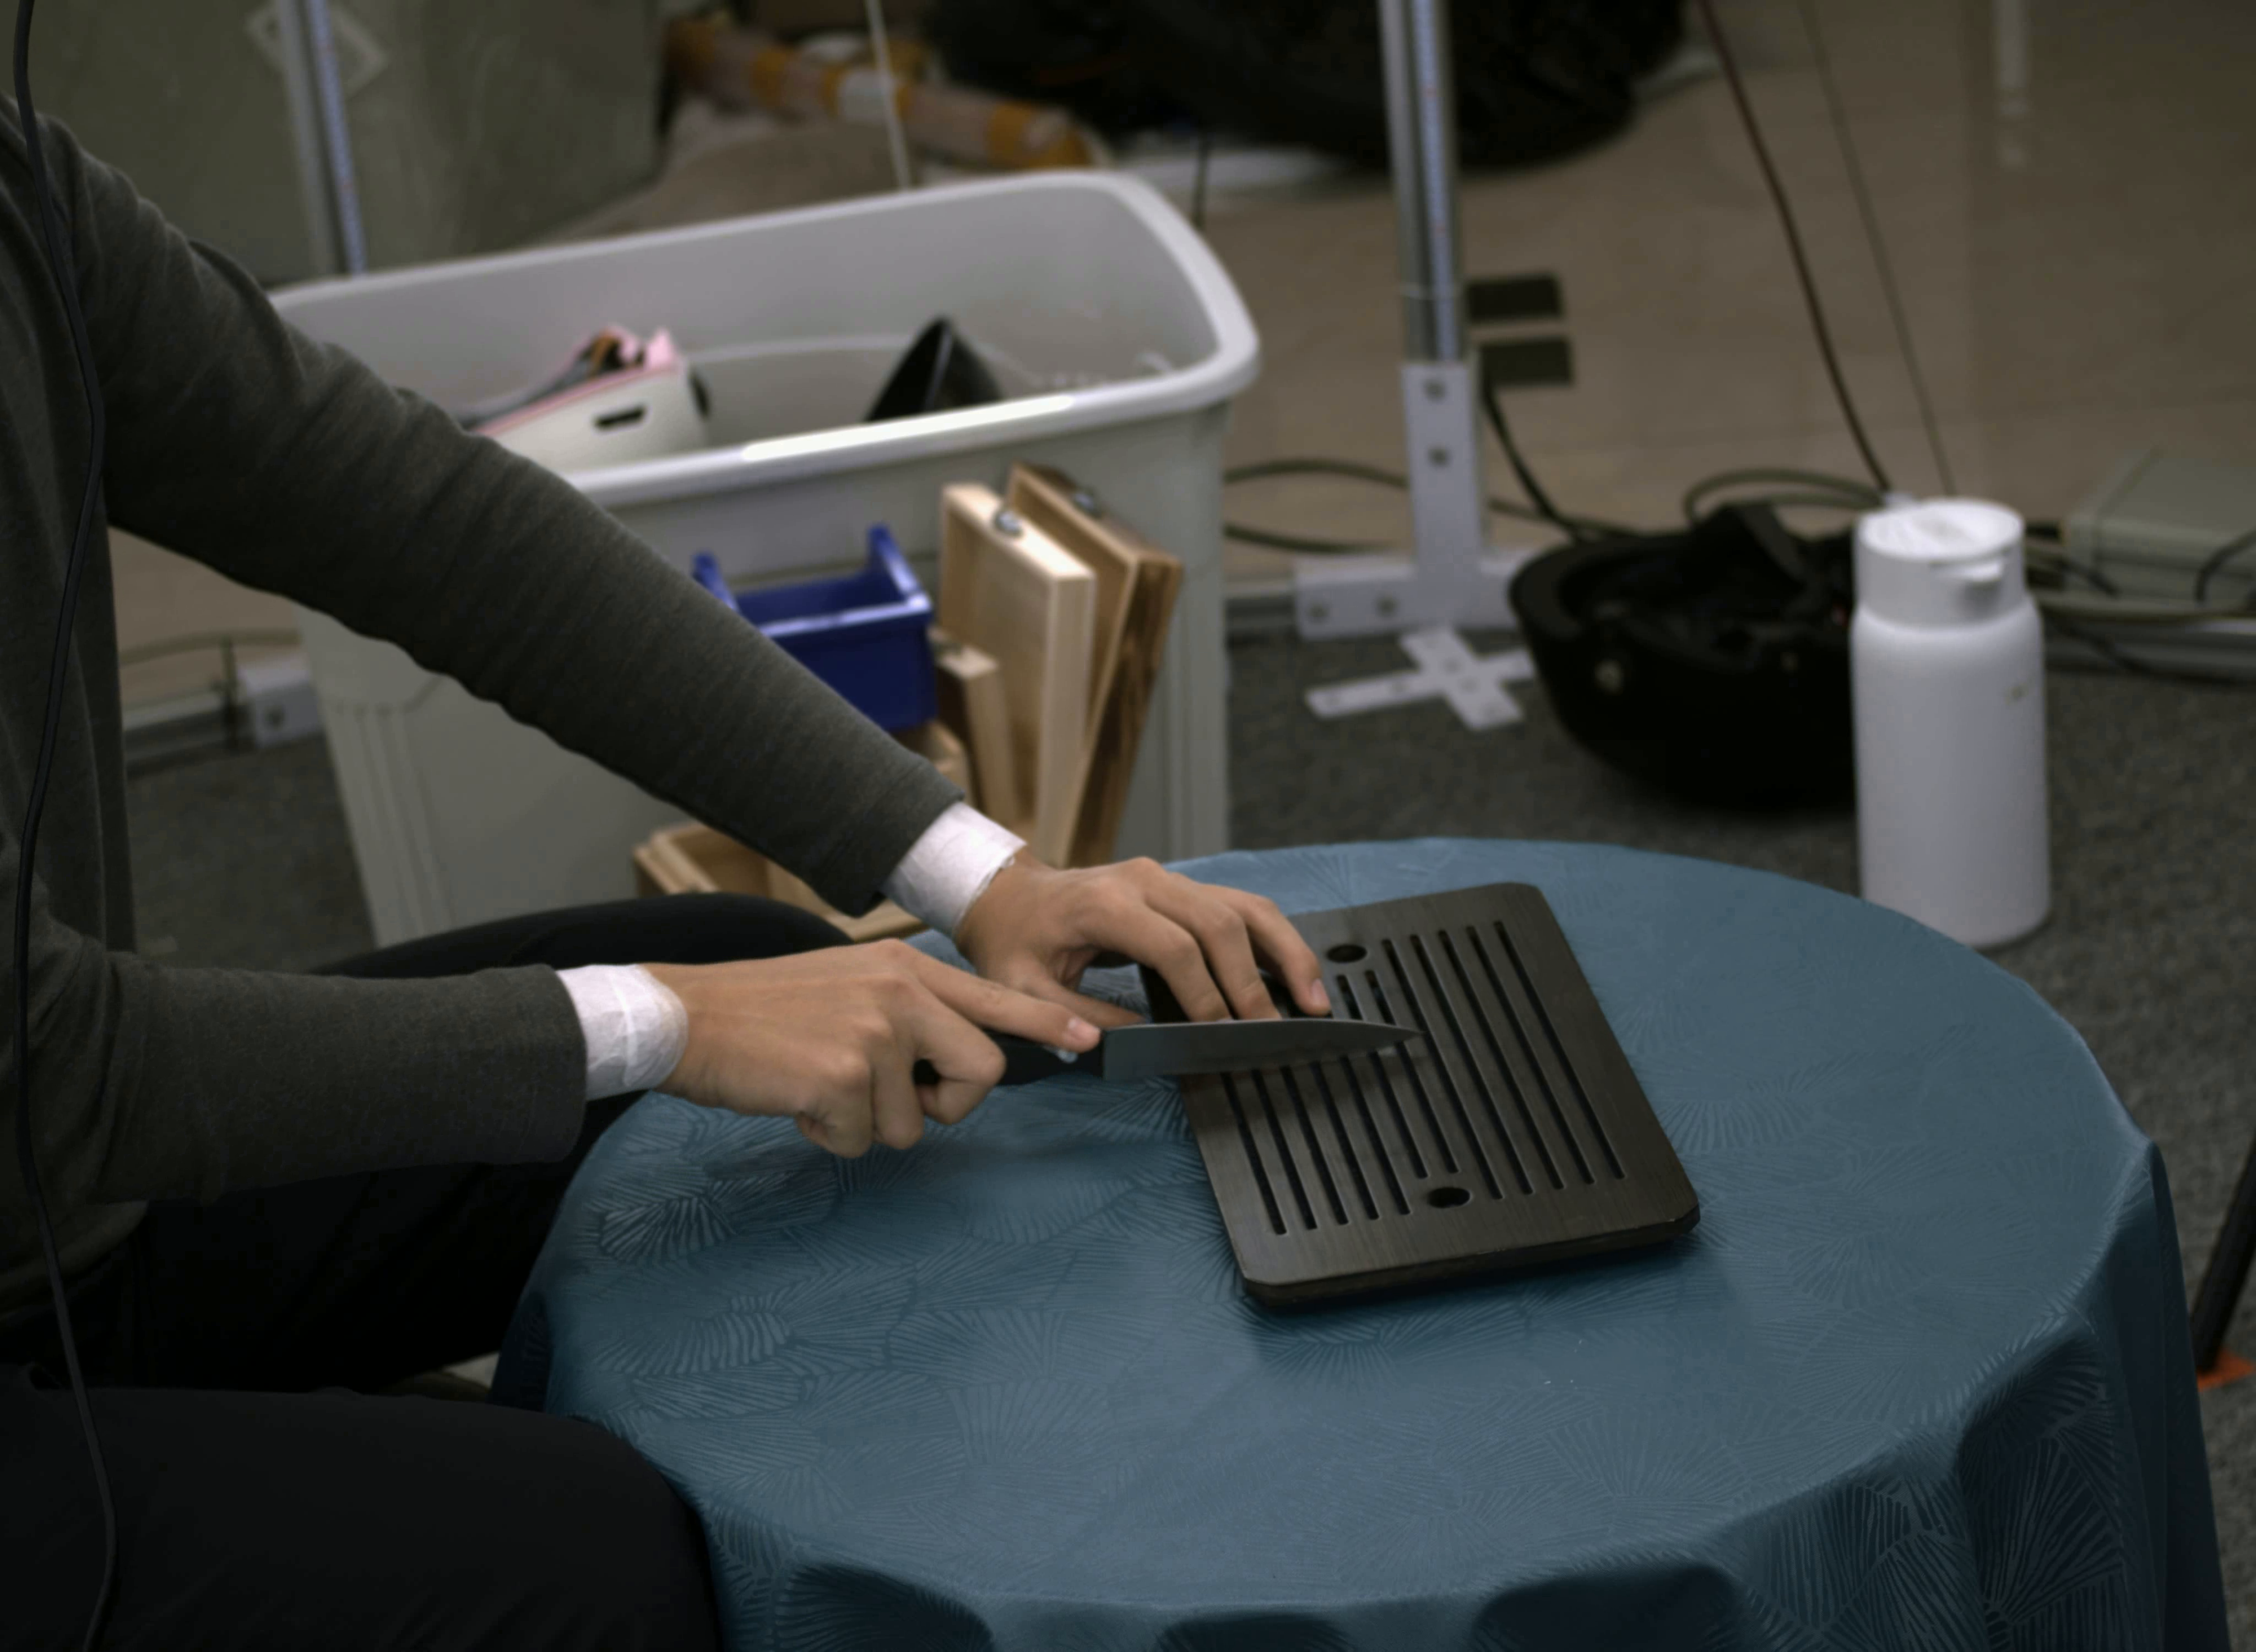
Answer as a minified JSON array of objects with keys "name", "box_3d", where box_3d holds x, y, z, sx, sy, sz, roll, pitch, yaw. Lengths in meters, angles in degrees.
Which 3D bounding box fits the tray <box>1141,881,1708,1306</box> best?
[{"name":"tray","box_3d":[0.108,0.101,2.187,0.170,0.019,0.301,-9,25,-5]}]

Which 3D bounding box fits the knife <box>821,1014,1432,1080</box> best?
[{"name":"knife","box_3d":[0.000,0.084,2.184,0.238,0.025,0.016,-1,13,-7]}]
